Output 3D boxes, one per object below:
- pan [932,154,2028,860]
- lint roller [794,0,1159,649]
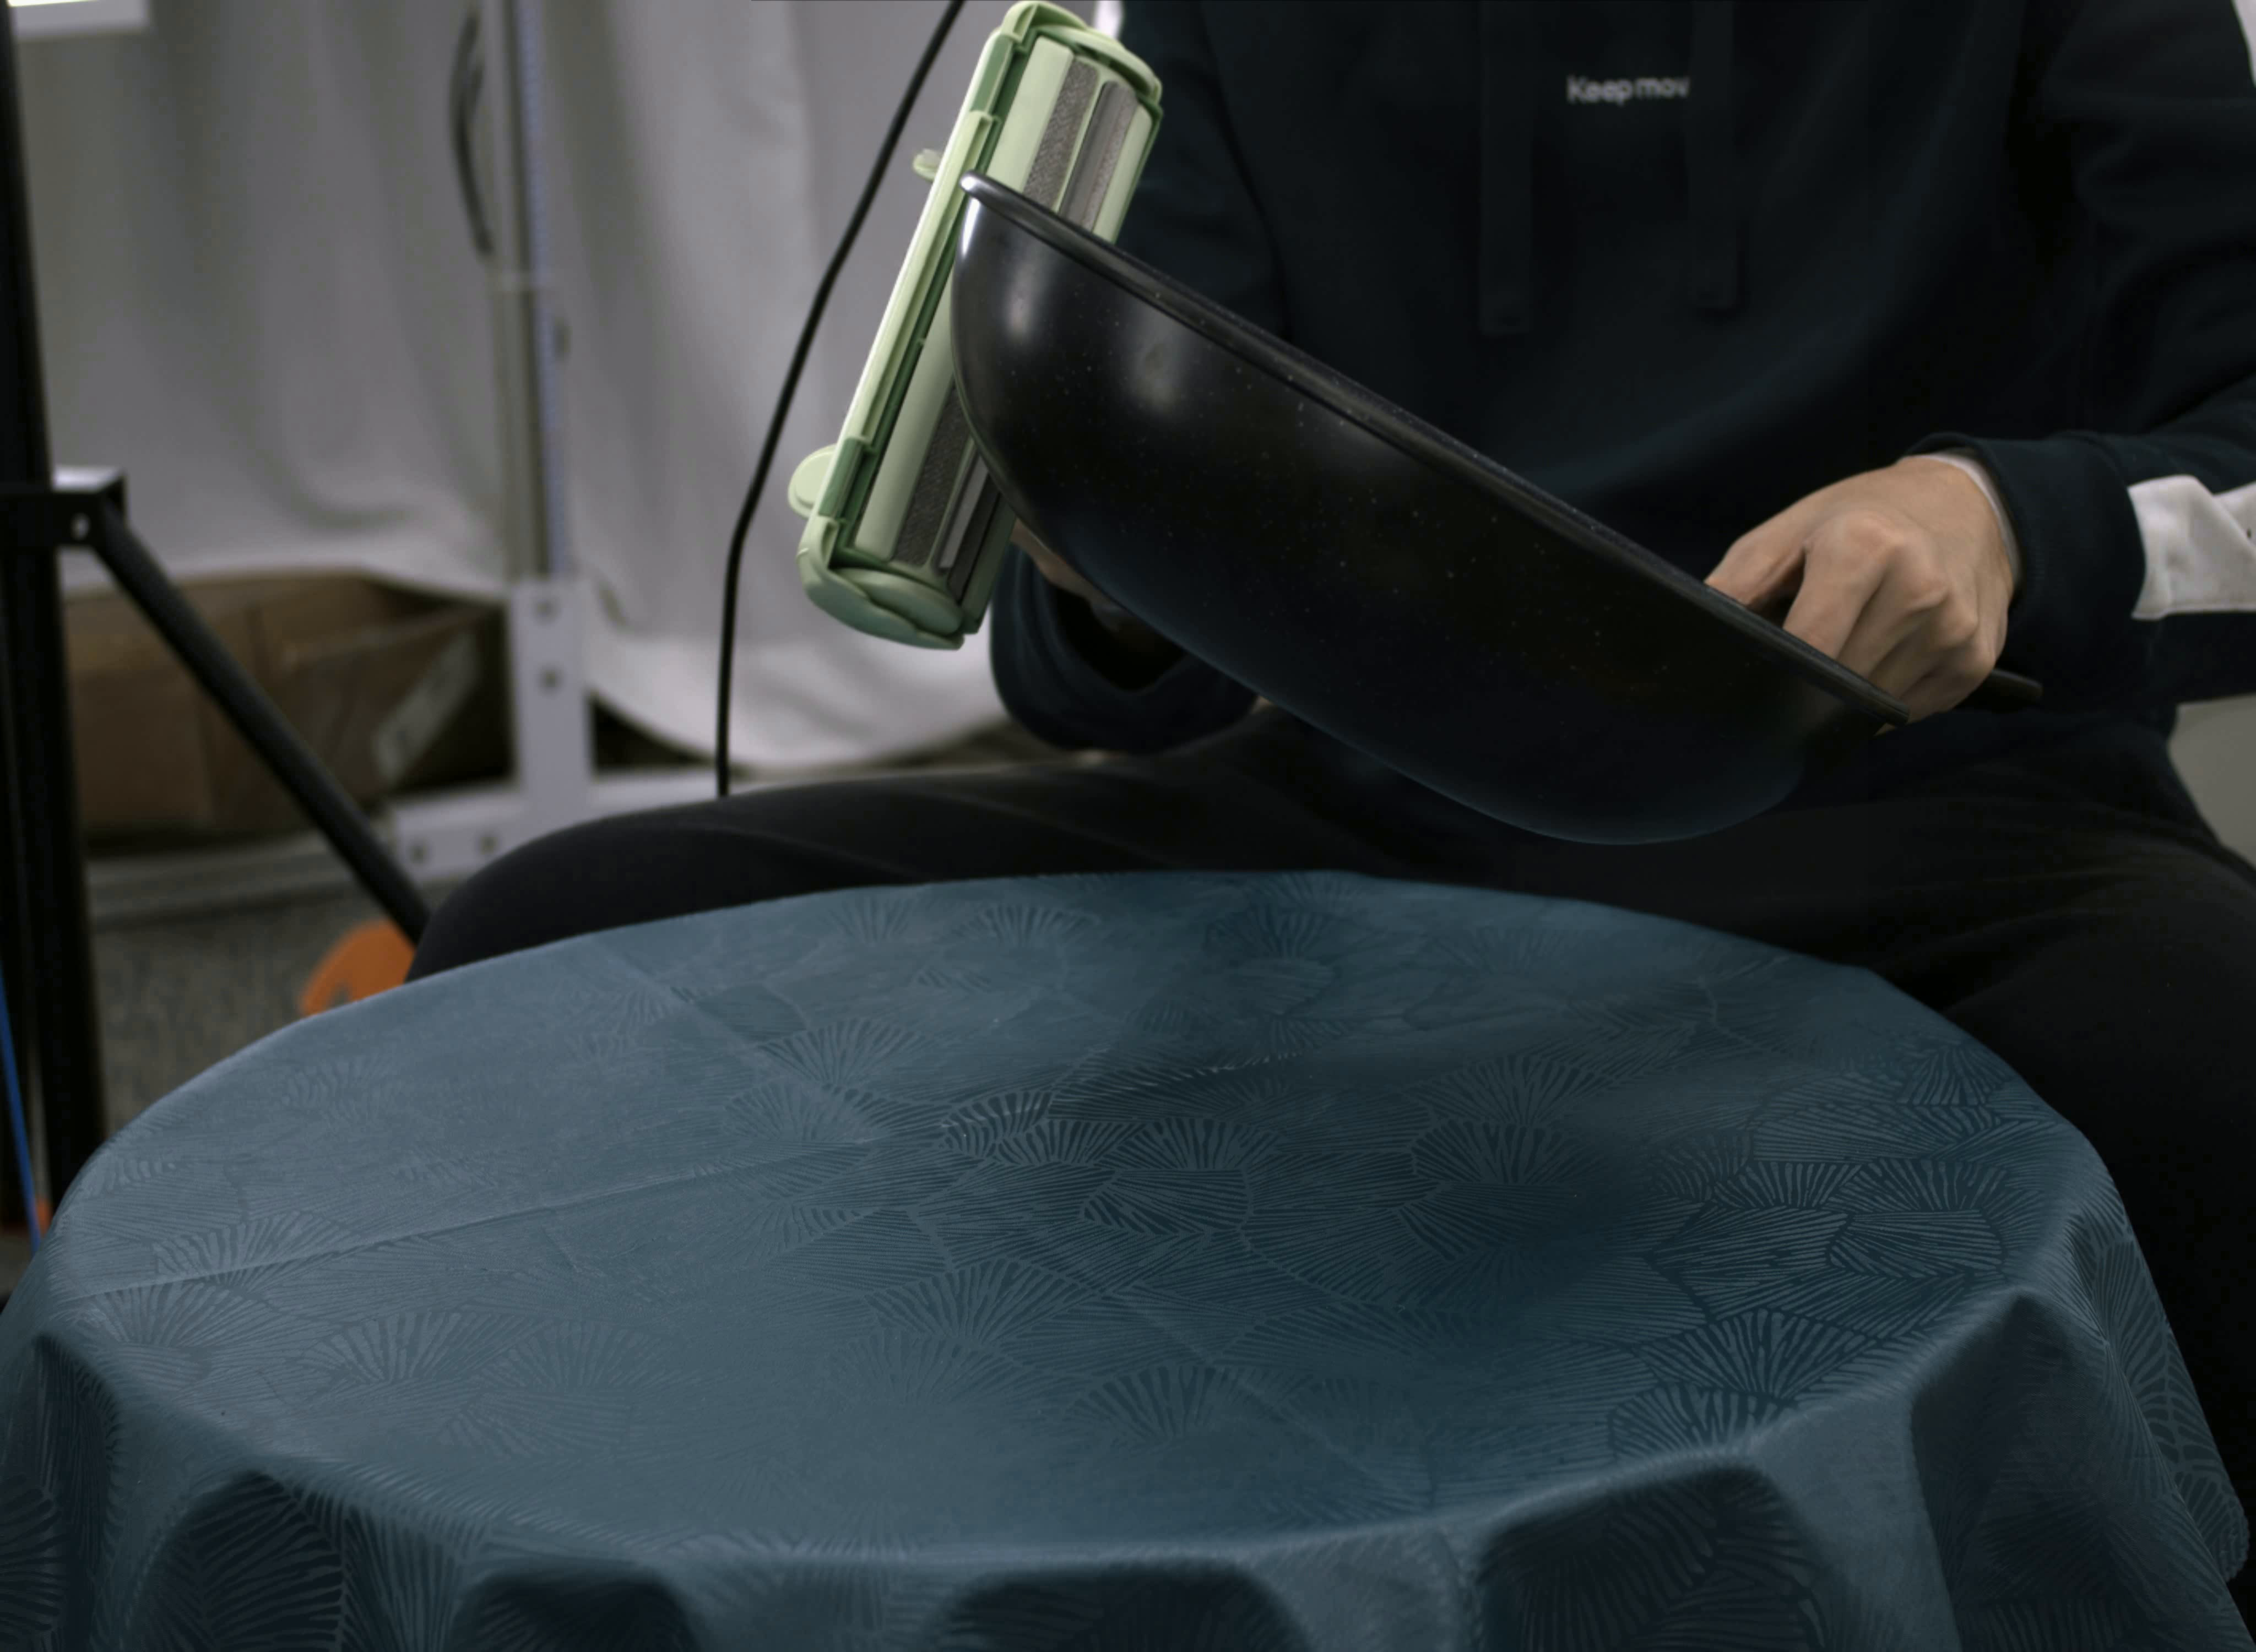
[{"bbox_3d":[0.118,-0.063,1.562,0.464,0.112,0.317,23,11,-48],"label":"pan"},{"bbox_3d":[-0.036,-0.137,1.674,0.083,0.199,0.180,13,-14,20],"label":"lint roller"}]
